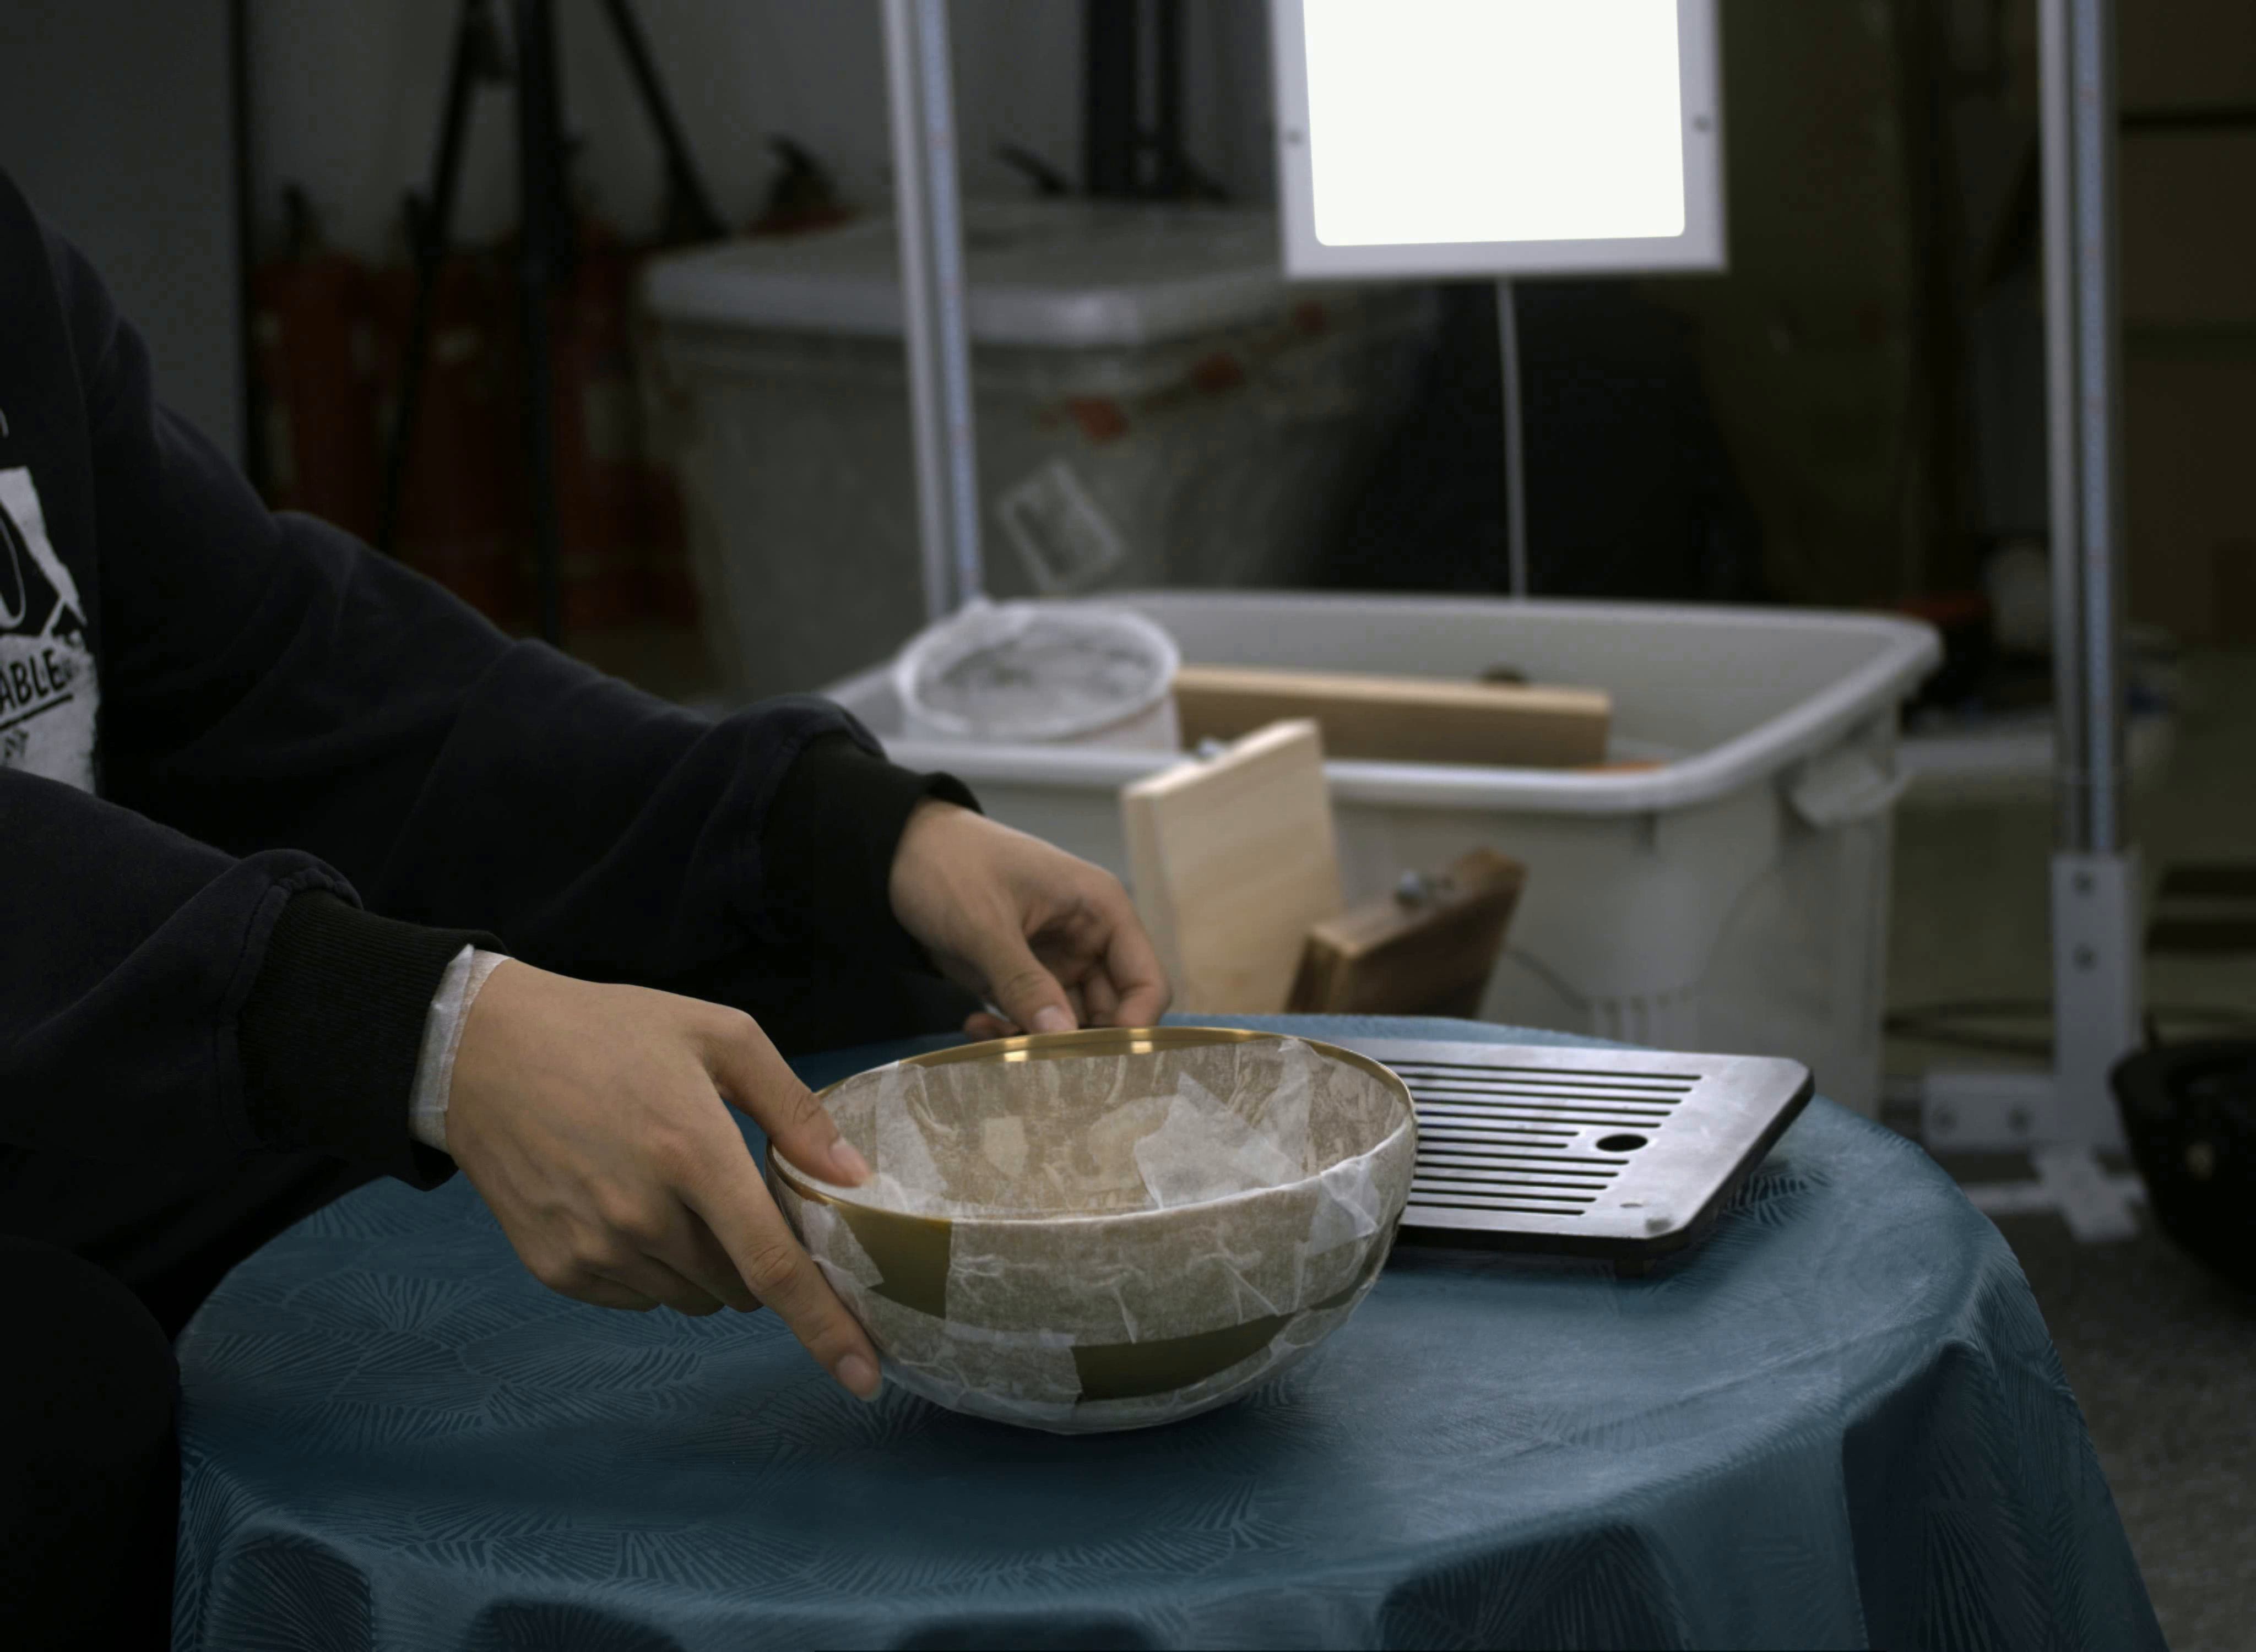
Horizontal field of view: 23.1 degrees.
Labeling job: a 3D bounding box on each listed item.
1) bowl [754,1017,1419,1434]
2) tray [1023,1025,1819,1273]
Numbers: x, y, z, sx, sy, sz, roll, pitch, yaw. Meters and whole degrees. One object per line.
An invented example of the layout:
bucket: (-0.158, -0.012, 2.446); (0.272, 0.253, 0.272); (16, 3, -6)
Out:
bowl: (-0.008, 0.130, 1.692); (0.214, 0.095, 0.214); (-5, 14, 0)
tray: (0.071, 0.109, 1.889); (0.311, 0.019, 0.167); (1, 18, 25)
